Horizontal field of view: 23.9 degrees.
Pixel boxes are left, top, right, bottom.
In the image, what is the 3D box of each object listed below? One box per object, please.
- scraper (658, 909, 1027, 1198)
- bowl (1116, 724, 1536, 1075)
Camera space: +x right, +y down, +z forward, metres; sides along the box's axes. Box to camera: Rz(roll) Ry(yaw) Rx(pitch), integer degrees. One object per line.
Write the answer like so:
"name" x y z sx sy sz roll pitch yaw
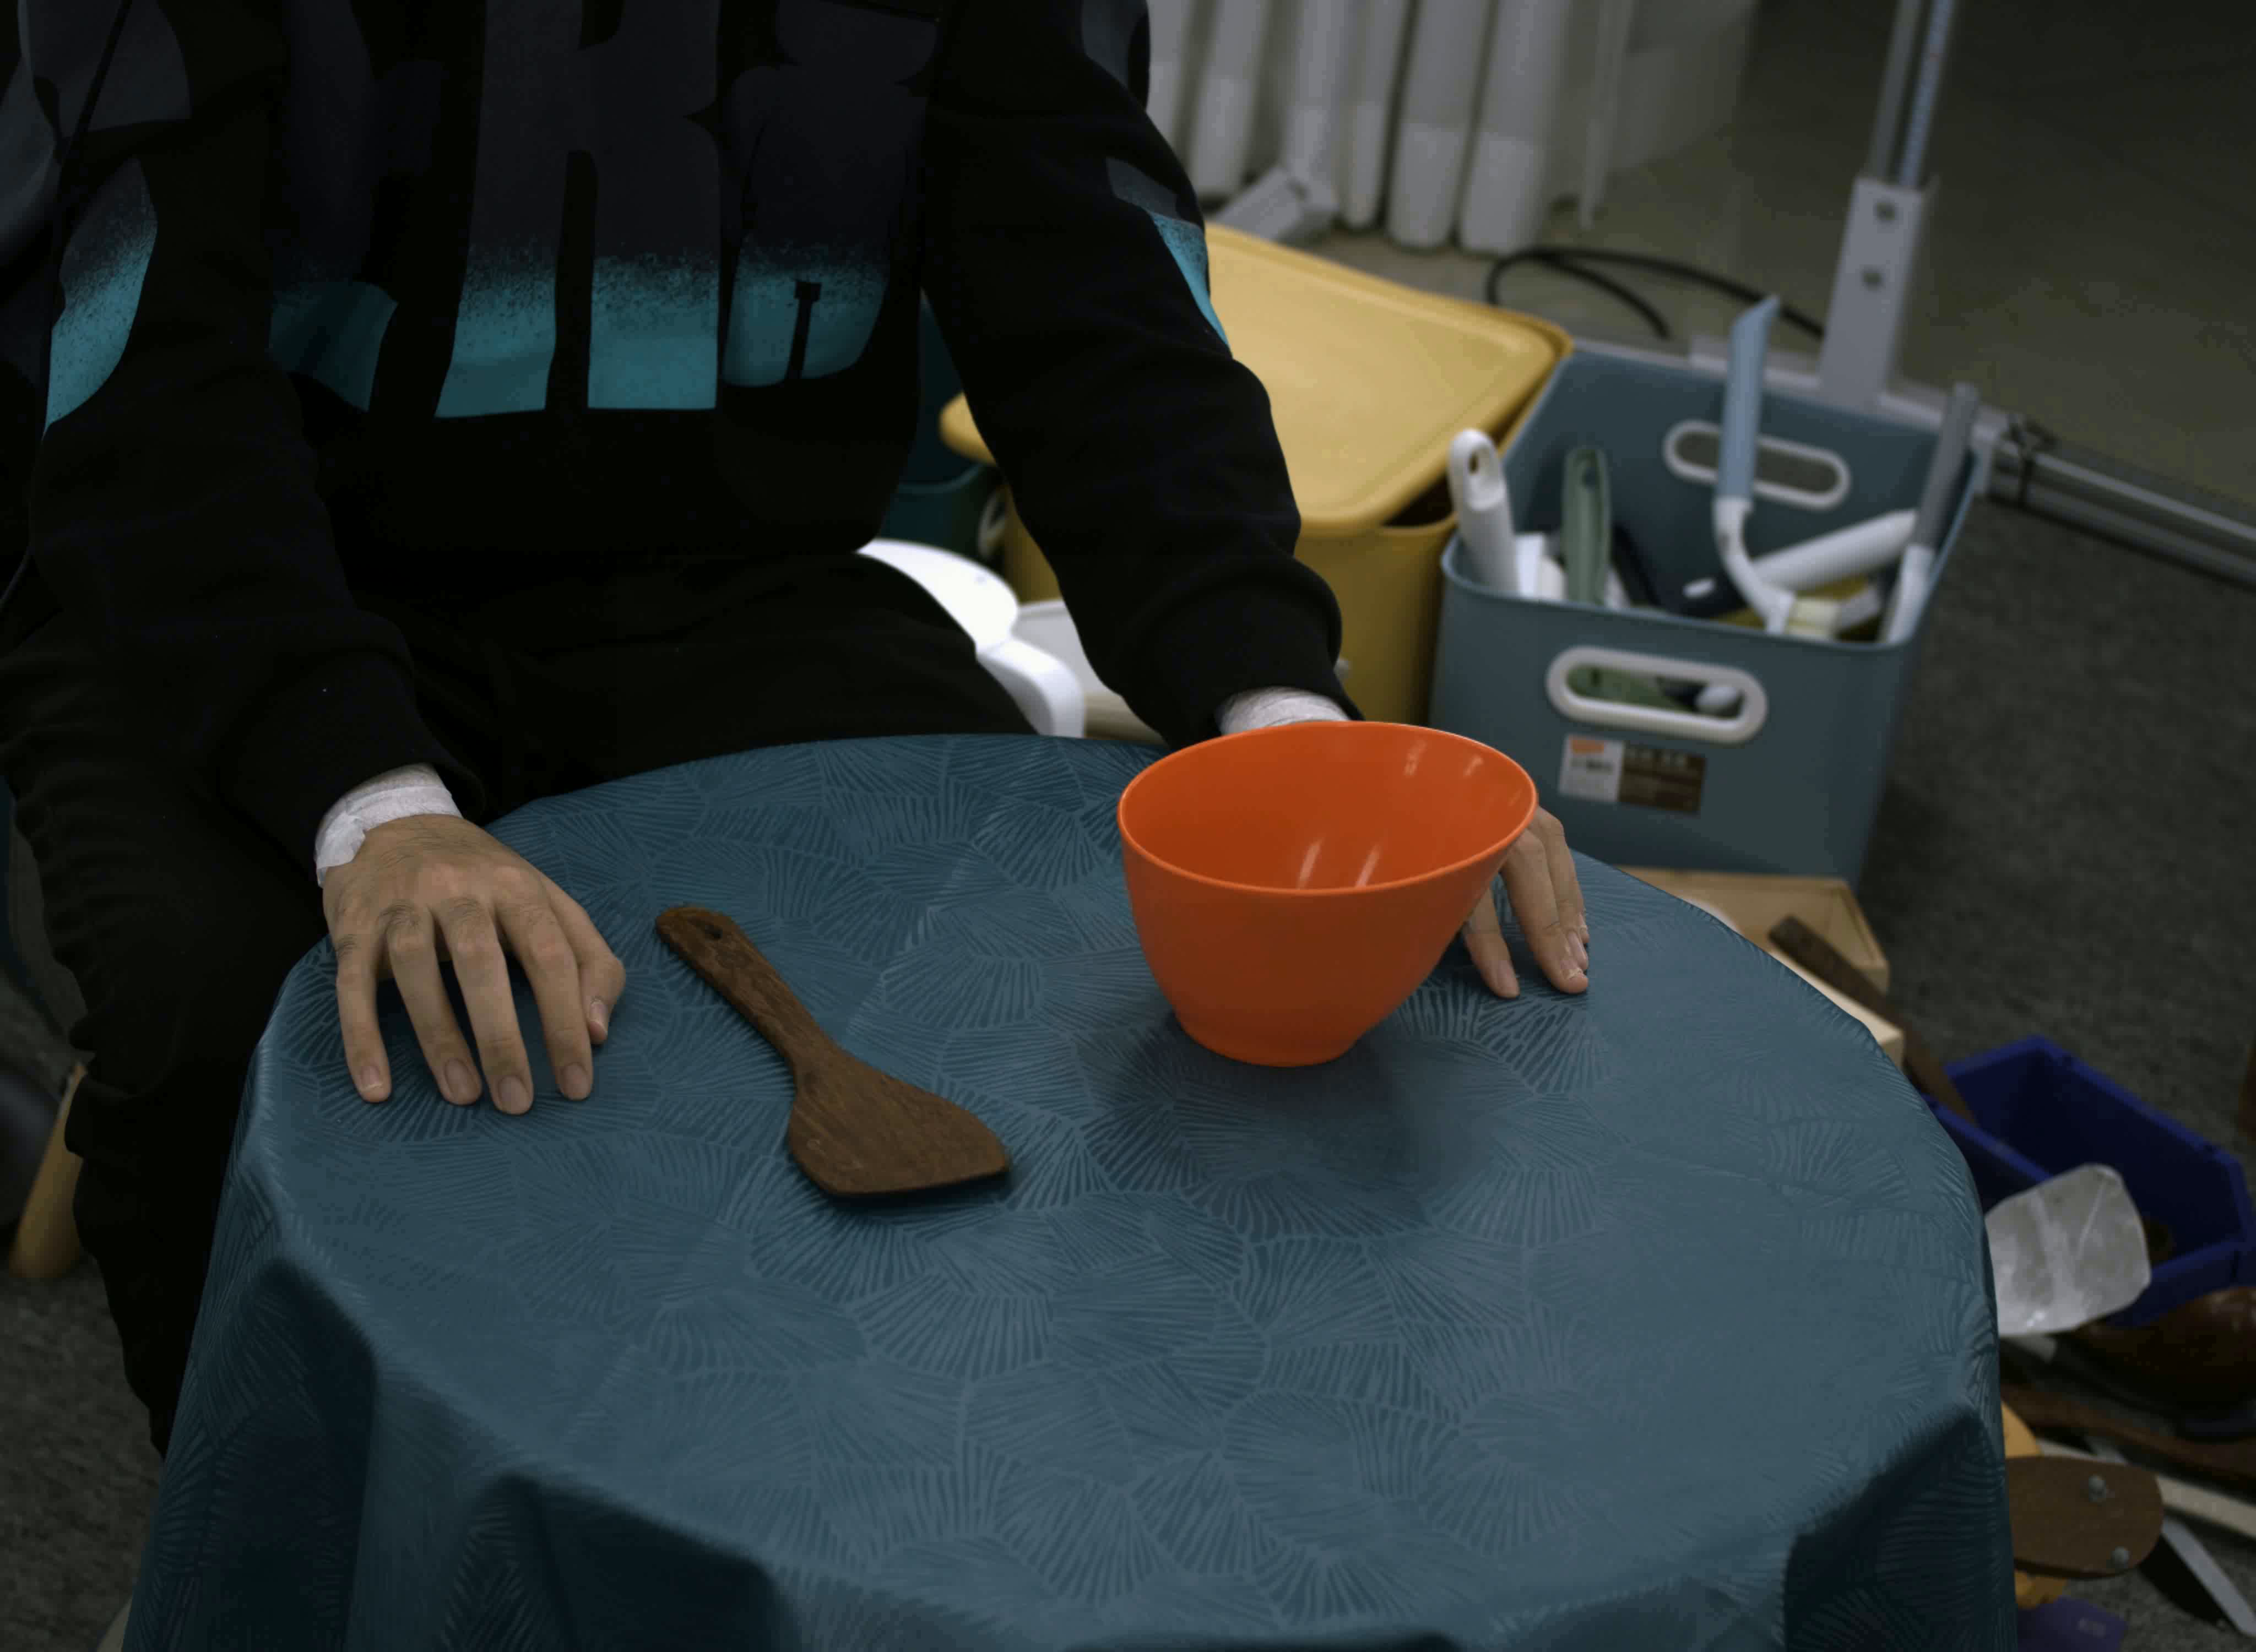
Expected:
"scraper" -0.112 0.078 1.857 0.075 0.011 0.213 -8 29 -28
"bowl" 0.066 0.030 1.890 0.147 0.104 0.149 3 27 -2
